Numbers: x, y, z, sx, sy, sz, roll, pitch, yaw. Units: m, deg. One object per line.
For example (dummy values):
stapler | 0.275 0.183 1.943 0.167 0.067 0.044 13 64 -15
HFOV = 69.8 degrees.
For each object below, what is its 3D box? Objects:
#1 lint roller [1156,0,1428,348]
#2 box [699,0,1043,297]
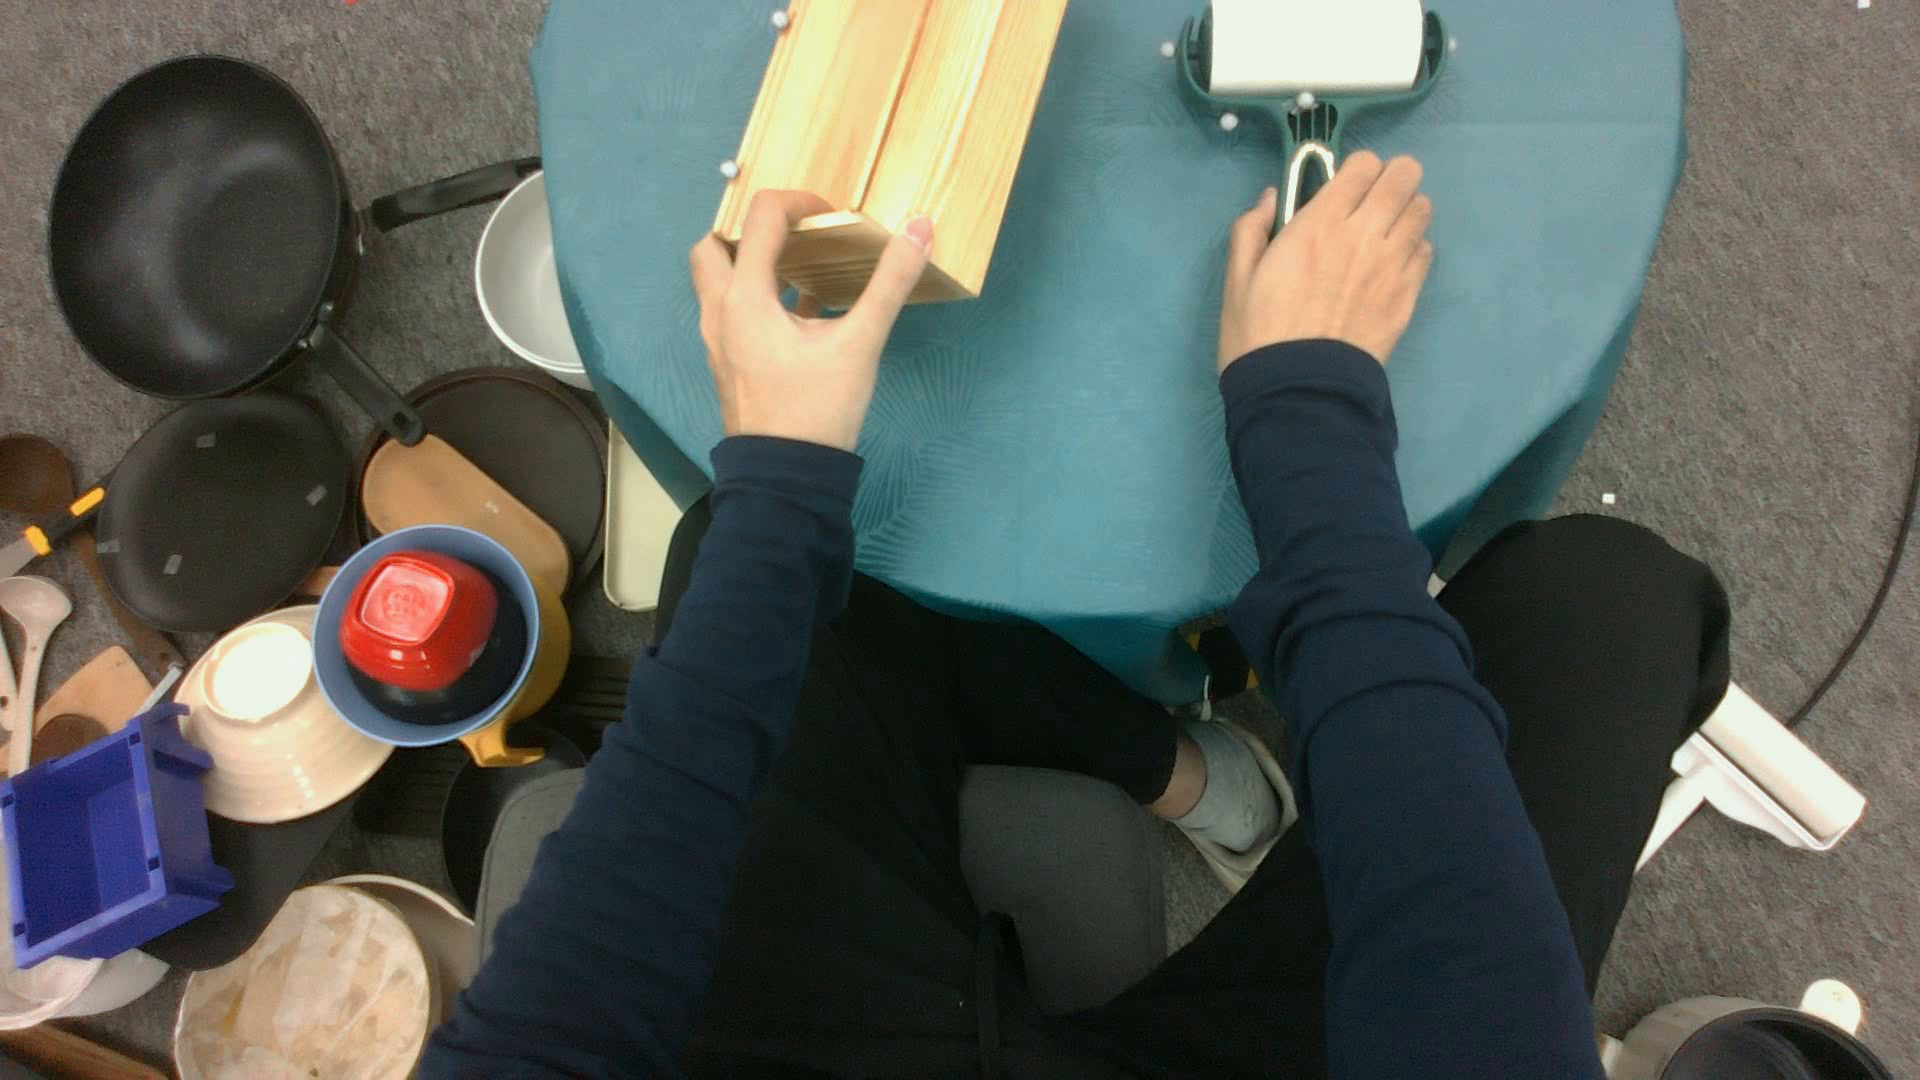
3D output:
lint roller | 0.165 -0.187 0.680 0.134 0.048 0.180 0 76 3
box | -0.034 -0.232 0.659 0.107 0.080 0.212 4 74 44
